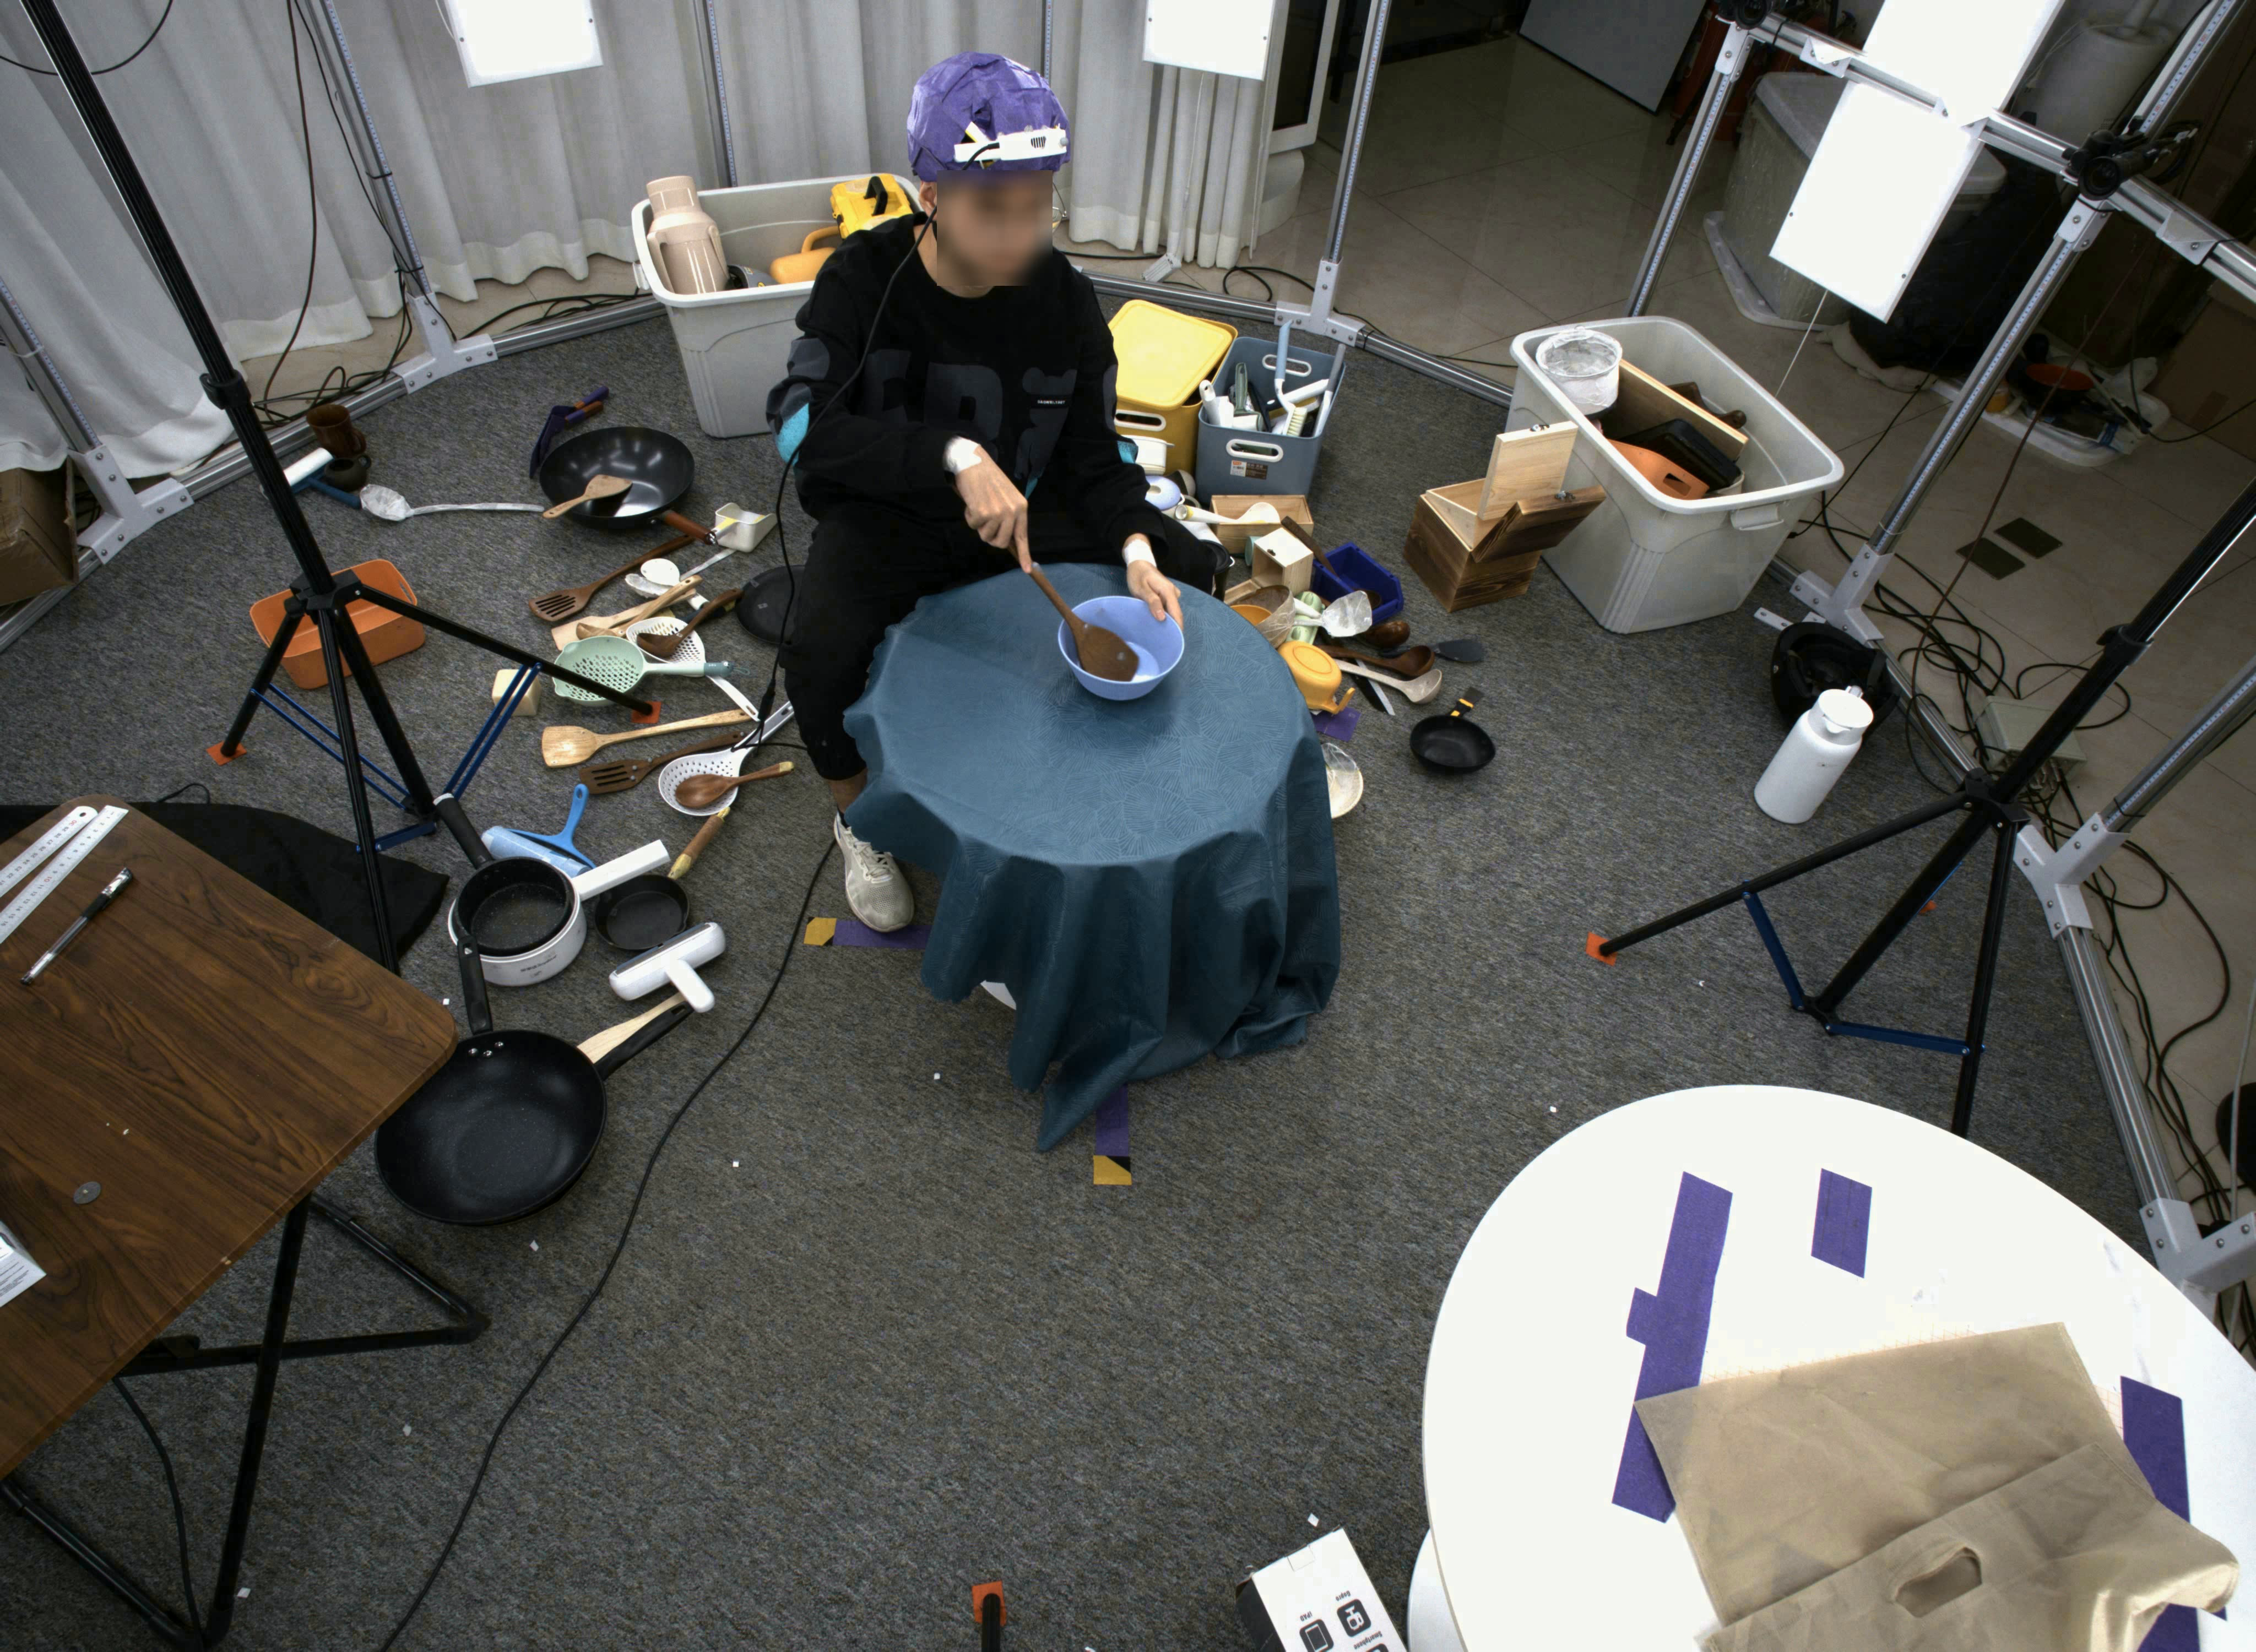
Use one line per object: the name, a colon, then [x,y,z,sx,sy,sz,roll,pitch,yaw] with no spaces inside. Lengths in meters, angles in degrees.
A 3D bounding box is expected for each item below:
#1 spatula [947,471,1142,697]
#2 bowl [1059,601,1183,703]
spatula: [-0.117,-0.337,1.786,0.381,0.016,0.097,49,53,-16]
bowl: [-0.011,-0.239,1.833,0.176,0.068,0.180,1,50,-1]
